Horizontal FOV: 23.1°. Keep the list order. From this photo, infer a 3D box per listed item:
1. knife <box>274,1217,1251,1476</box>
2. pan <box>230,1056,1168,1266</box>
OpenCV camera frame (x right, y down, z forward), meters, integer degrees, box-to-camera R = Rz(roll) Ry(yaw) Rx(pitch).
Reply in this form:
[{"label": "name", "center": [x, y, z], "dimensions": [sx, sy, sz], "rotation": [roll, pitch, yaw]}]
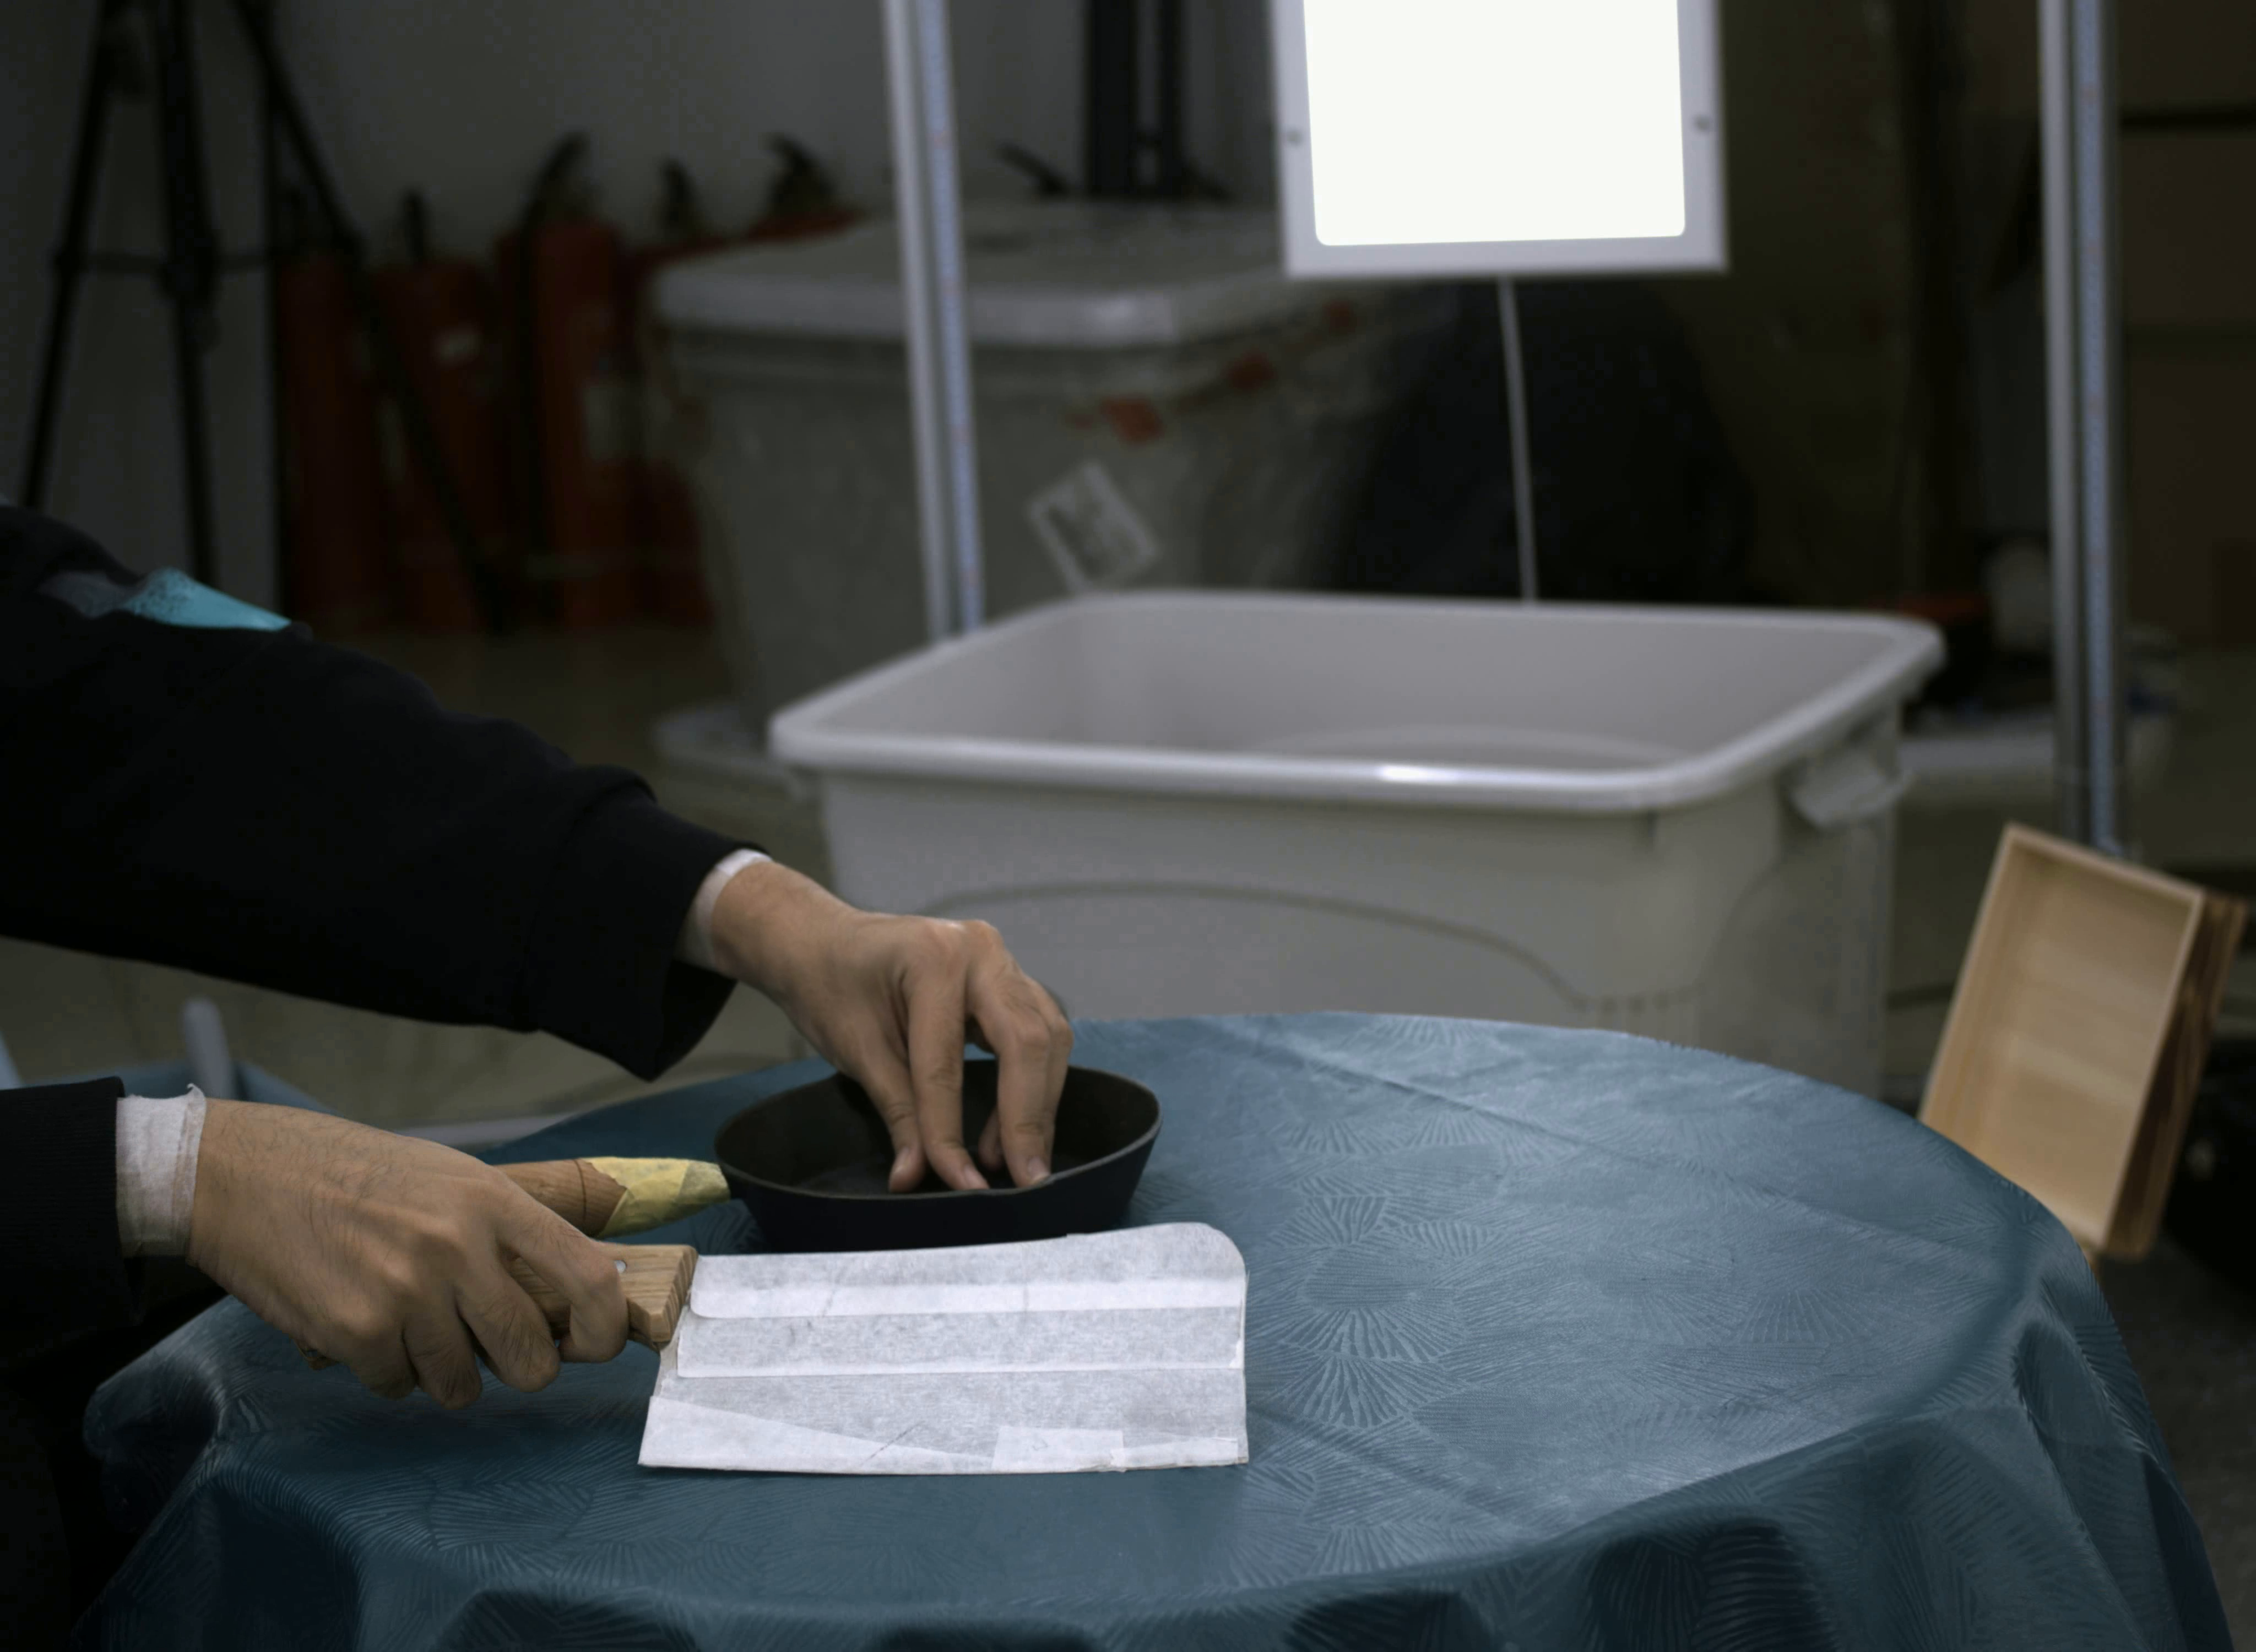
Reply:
[{"label": "knife", "center": [-0.112, 0.158, 1.698], "dimensions": [0.318, 0.022, 0.113], "rotation": [1, 42, 13]}, {"label": "pan", "center": [-0.142, 0.122, 1.861], "dimensions": [0.319, 0.050, 0.171], "rotation": [-8, 14, -17]}]
